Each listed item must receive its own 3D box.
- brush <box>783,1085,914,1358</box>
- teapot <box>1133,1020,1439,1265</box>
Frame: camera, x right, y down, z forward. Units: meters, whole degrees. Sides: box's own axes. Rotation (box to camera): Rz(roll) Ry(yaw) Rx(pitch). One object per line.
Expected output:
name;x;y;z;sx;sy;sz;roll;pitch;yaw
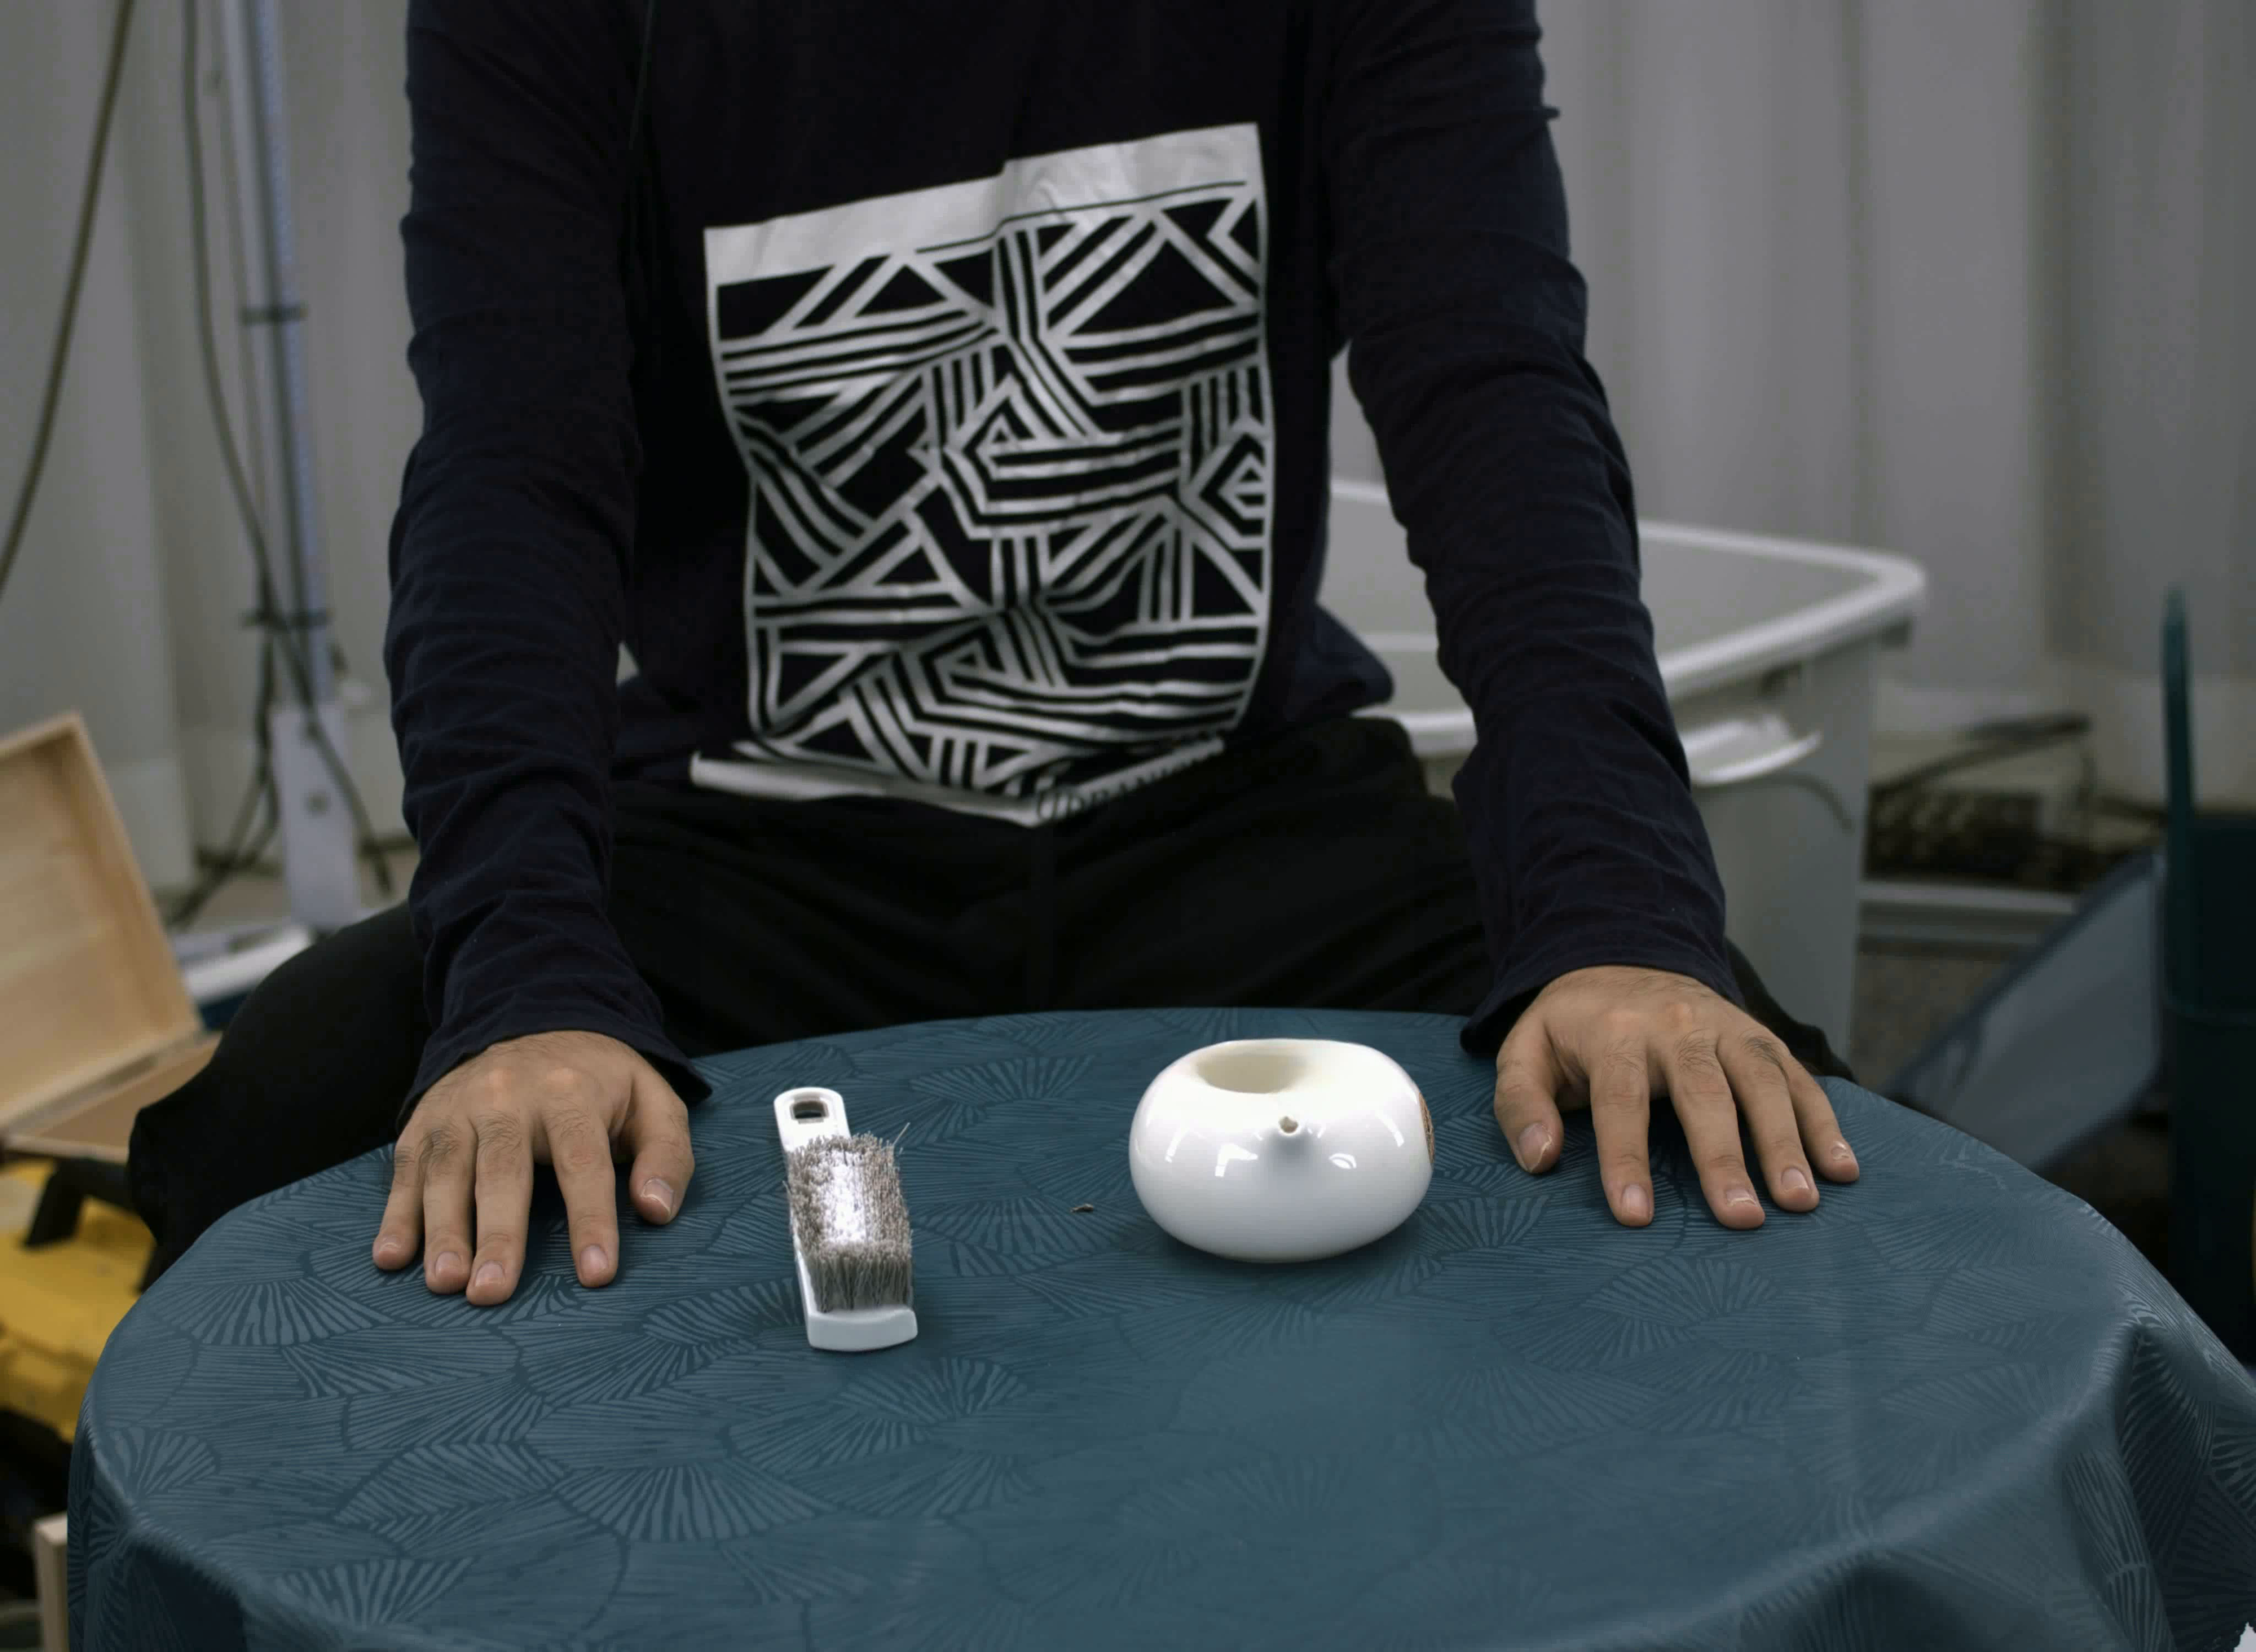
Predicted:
brush;-0.089;0.102;1.688;0.034;0.050;0.245;-8;15;-2
teapot;0.047;0.096;1.673;0.093;0.056;0.128;-9;14;-4
